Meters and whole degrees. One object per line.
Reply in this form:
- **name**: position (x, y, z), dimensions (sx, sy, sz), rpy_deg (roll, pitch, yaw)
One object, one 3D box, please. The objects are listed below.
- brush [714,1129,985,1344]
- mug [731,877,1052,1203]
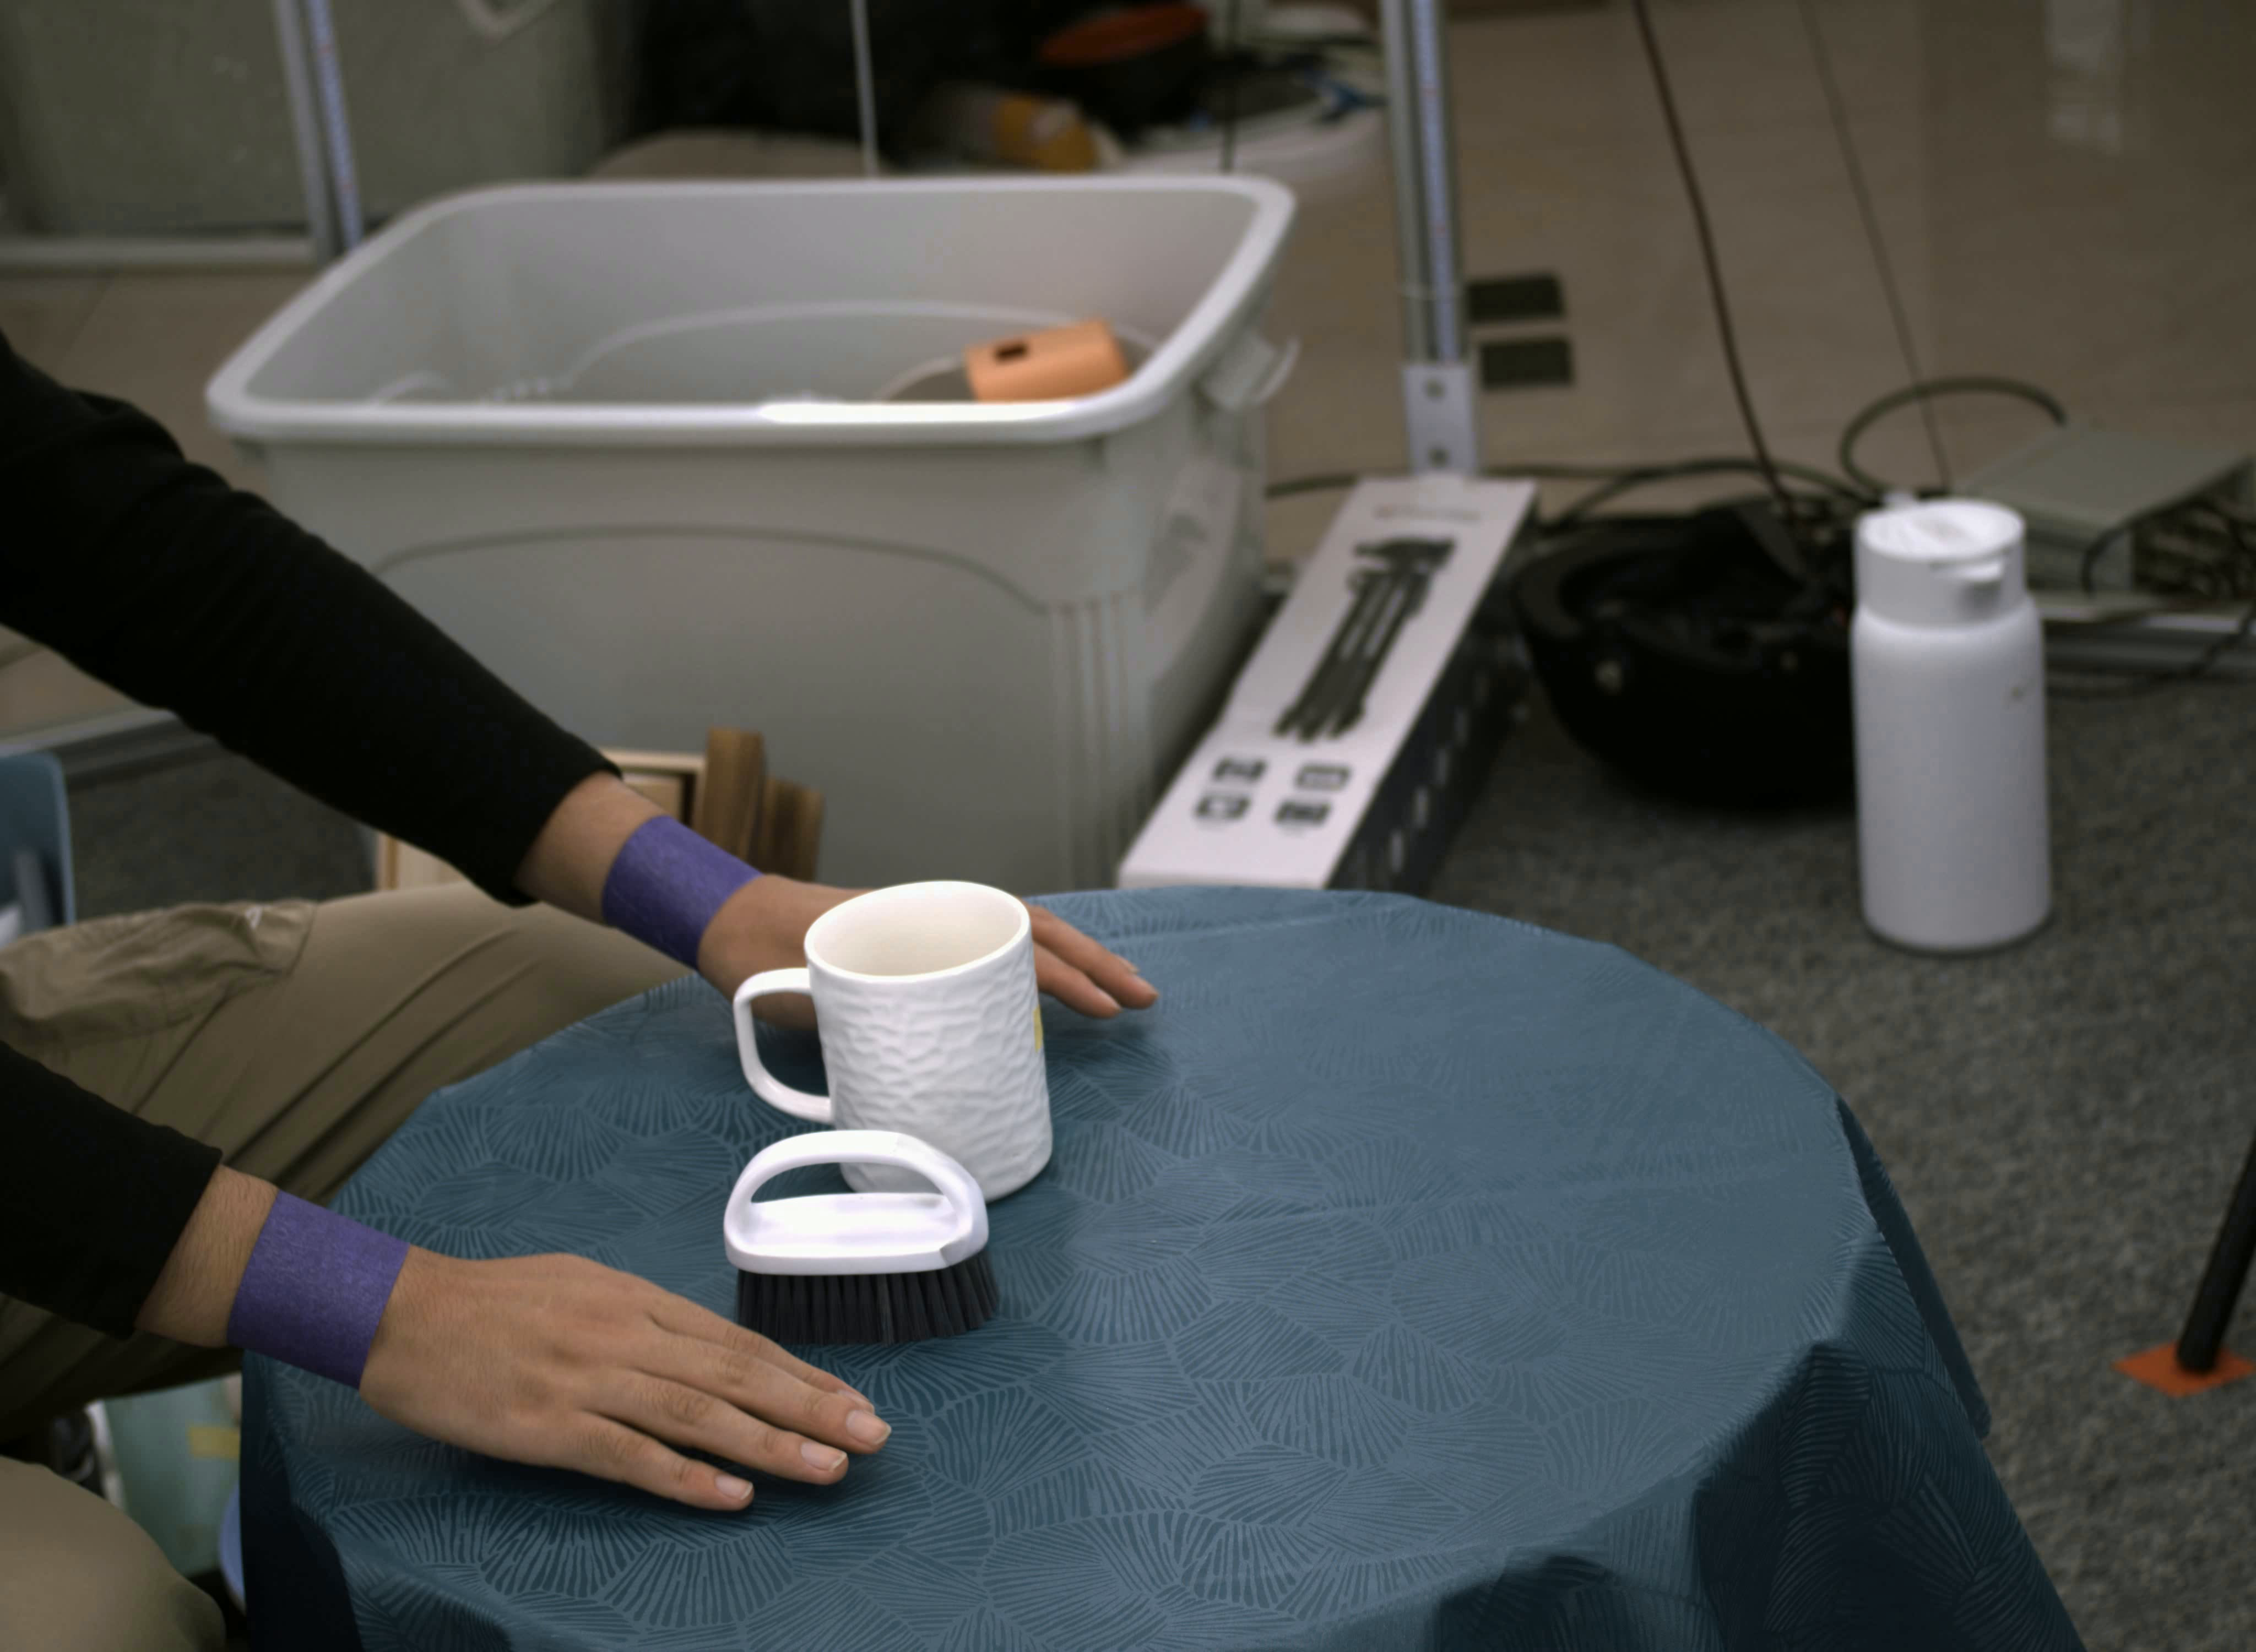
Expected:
- **brush**: position (-0.102, 0.146, 2.066), dimensions (0.099, 0.073, 0.049), rpy_deg (-1, 21, 0)
- **mug**: position (-0.091, 0.084, 2.161), dimensions (0.118, 0.103, 0.083), rpy_deg (-3, 26, 8)
